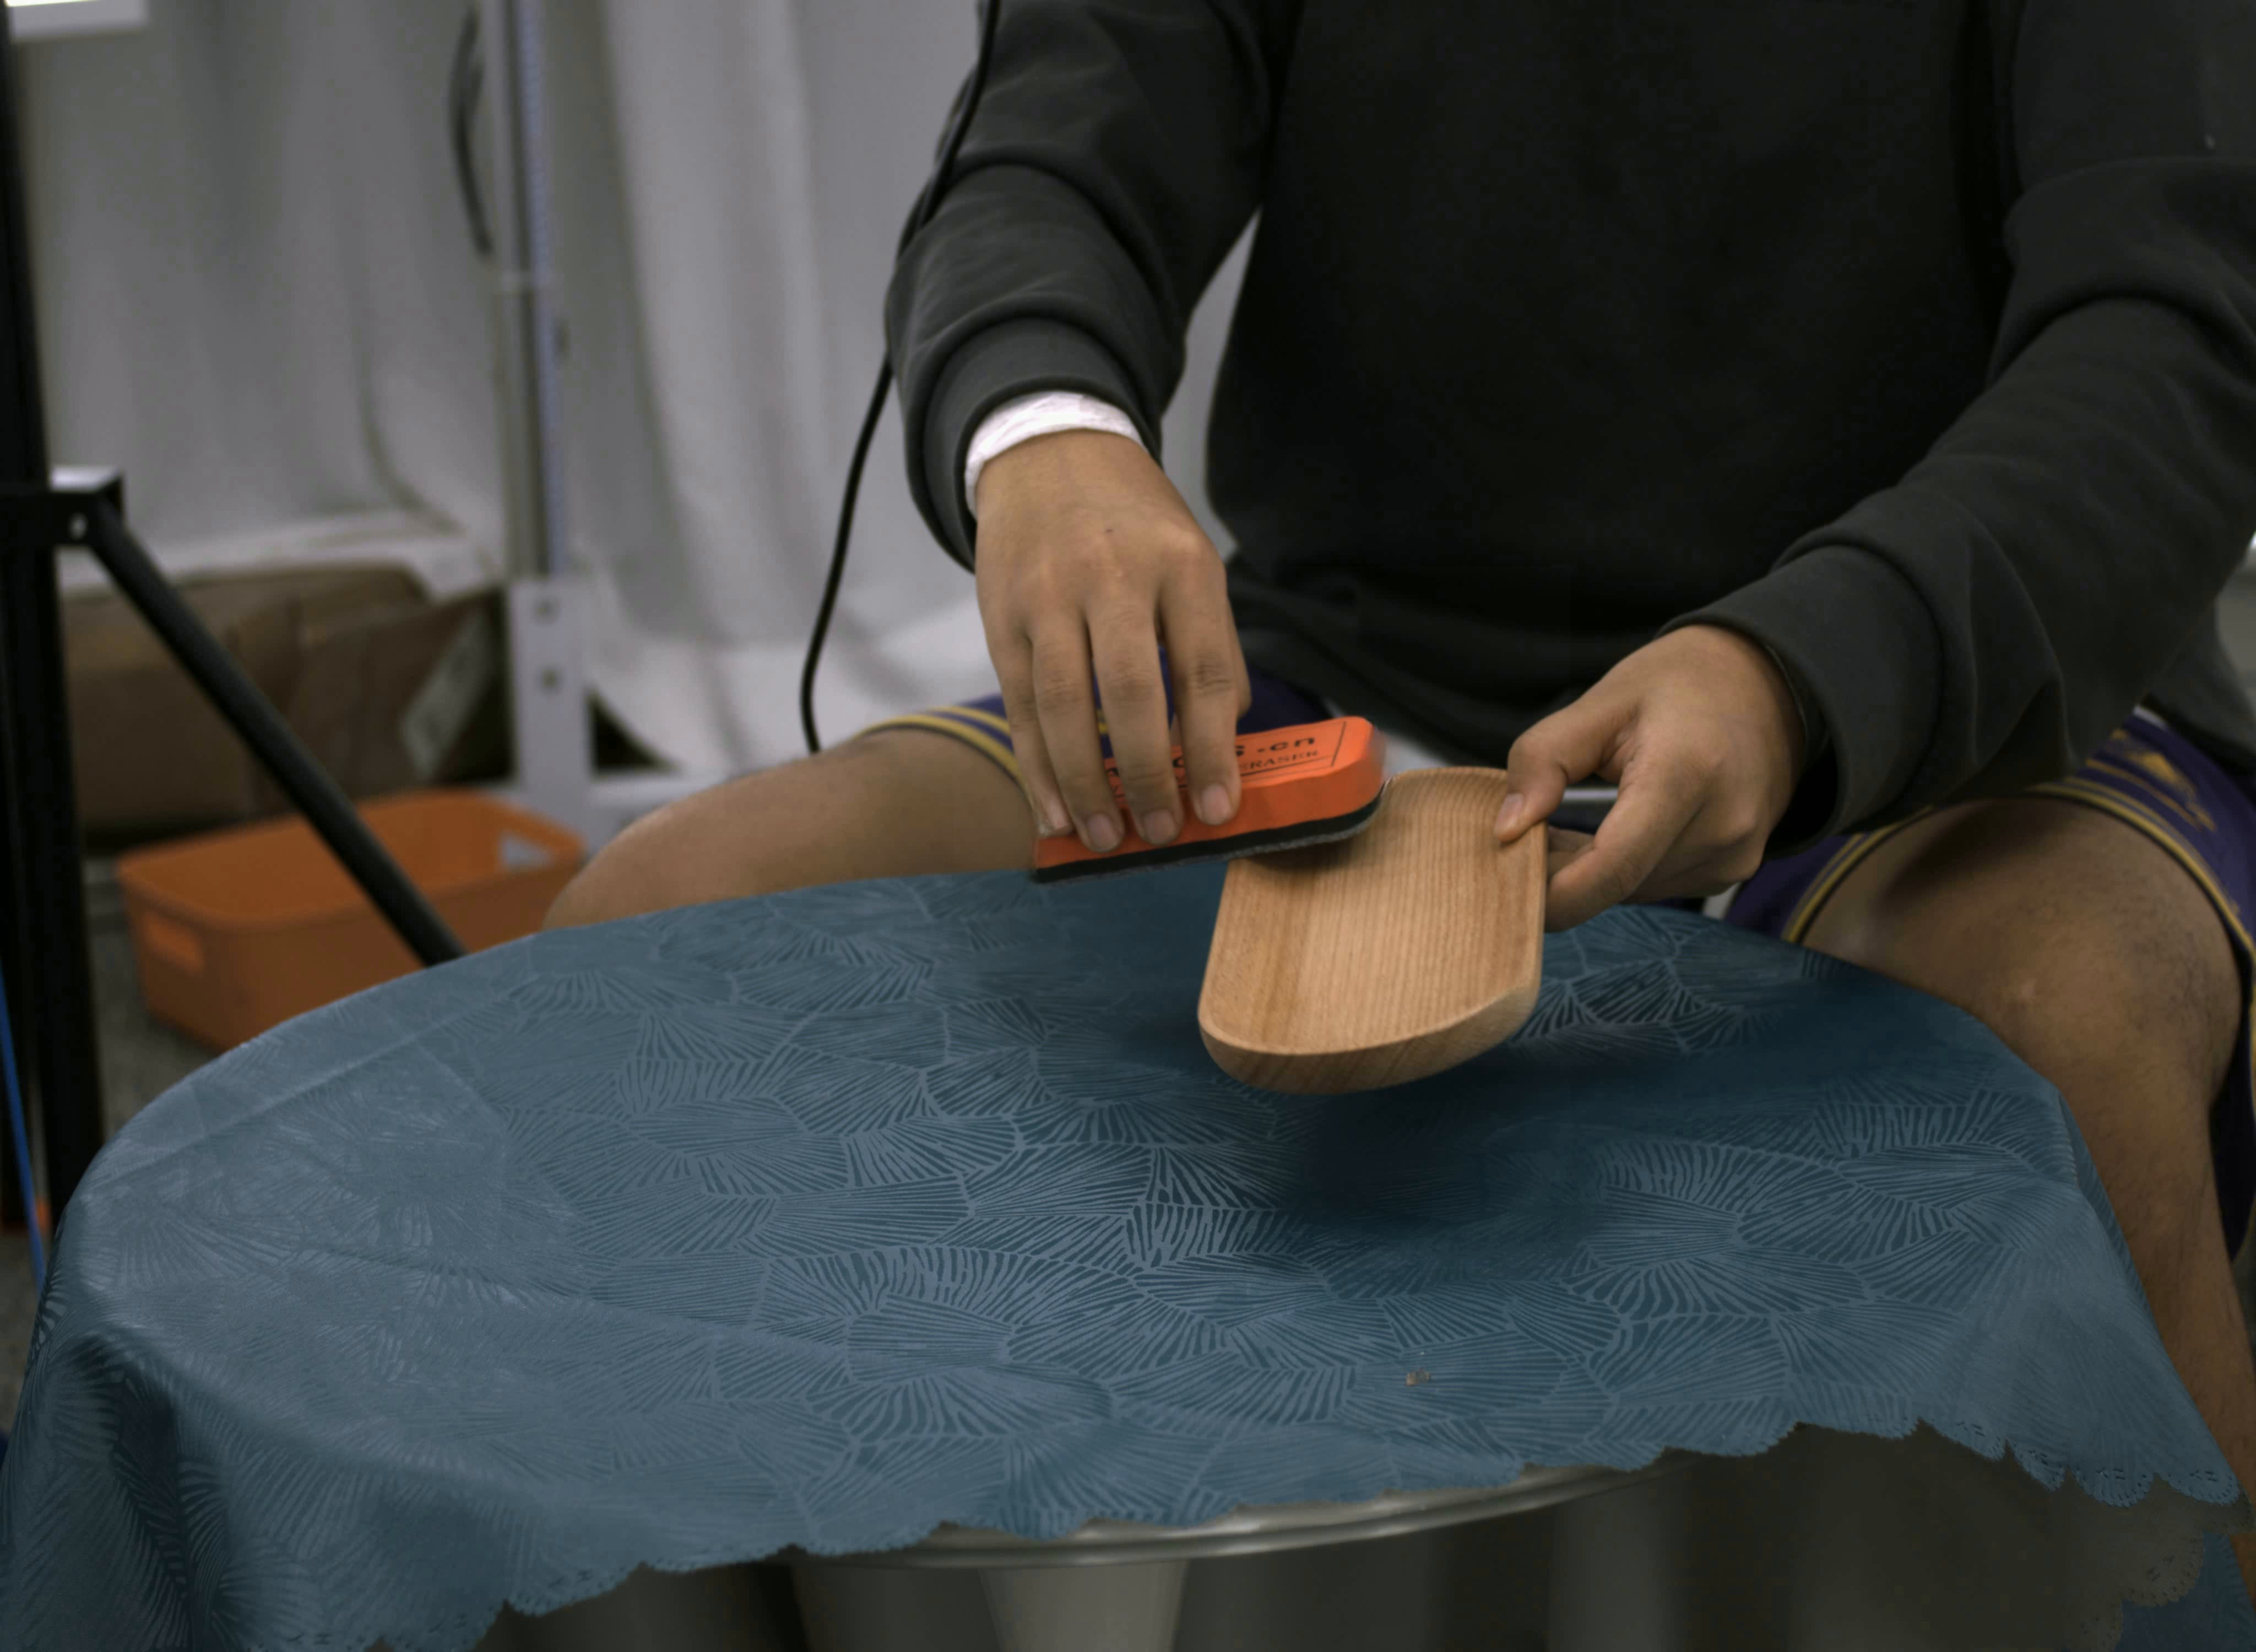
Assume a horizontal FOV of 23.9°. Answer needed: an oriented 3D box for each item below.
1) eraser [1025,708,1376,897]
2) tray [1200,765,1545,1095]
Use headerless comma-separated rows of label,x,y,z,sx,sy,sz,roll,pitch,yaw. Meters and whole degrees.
eraser,0.024,-0.007,1.683,0.108,0.022,0.059,-10,28,14
tray,0.076,0.029,1.600,0.102,0.020,0.231,-9,18,8
